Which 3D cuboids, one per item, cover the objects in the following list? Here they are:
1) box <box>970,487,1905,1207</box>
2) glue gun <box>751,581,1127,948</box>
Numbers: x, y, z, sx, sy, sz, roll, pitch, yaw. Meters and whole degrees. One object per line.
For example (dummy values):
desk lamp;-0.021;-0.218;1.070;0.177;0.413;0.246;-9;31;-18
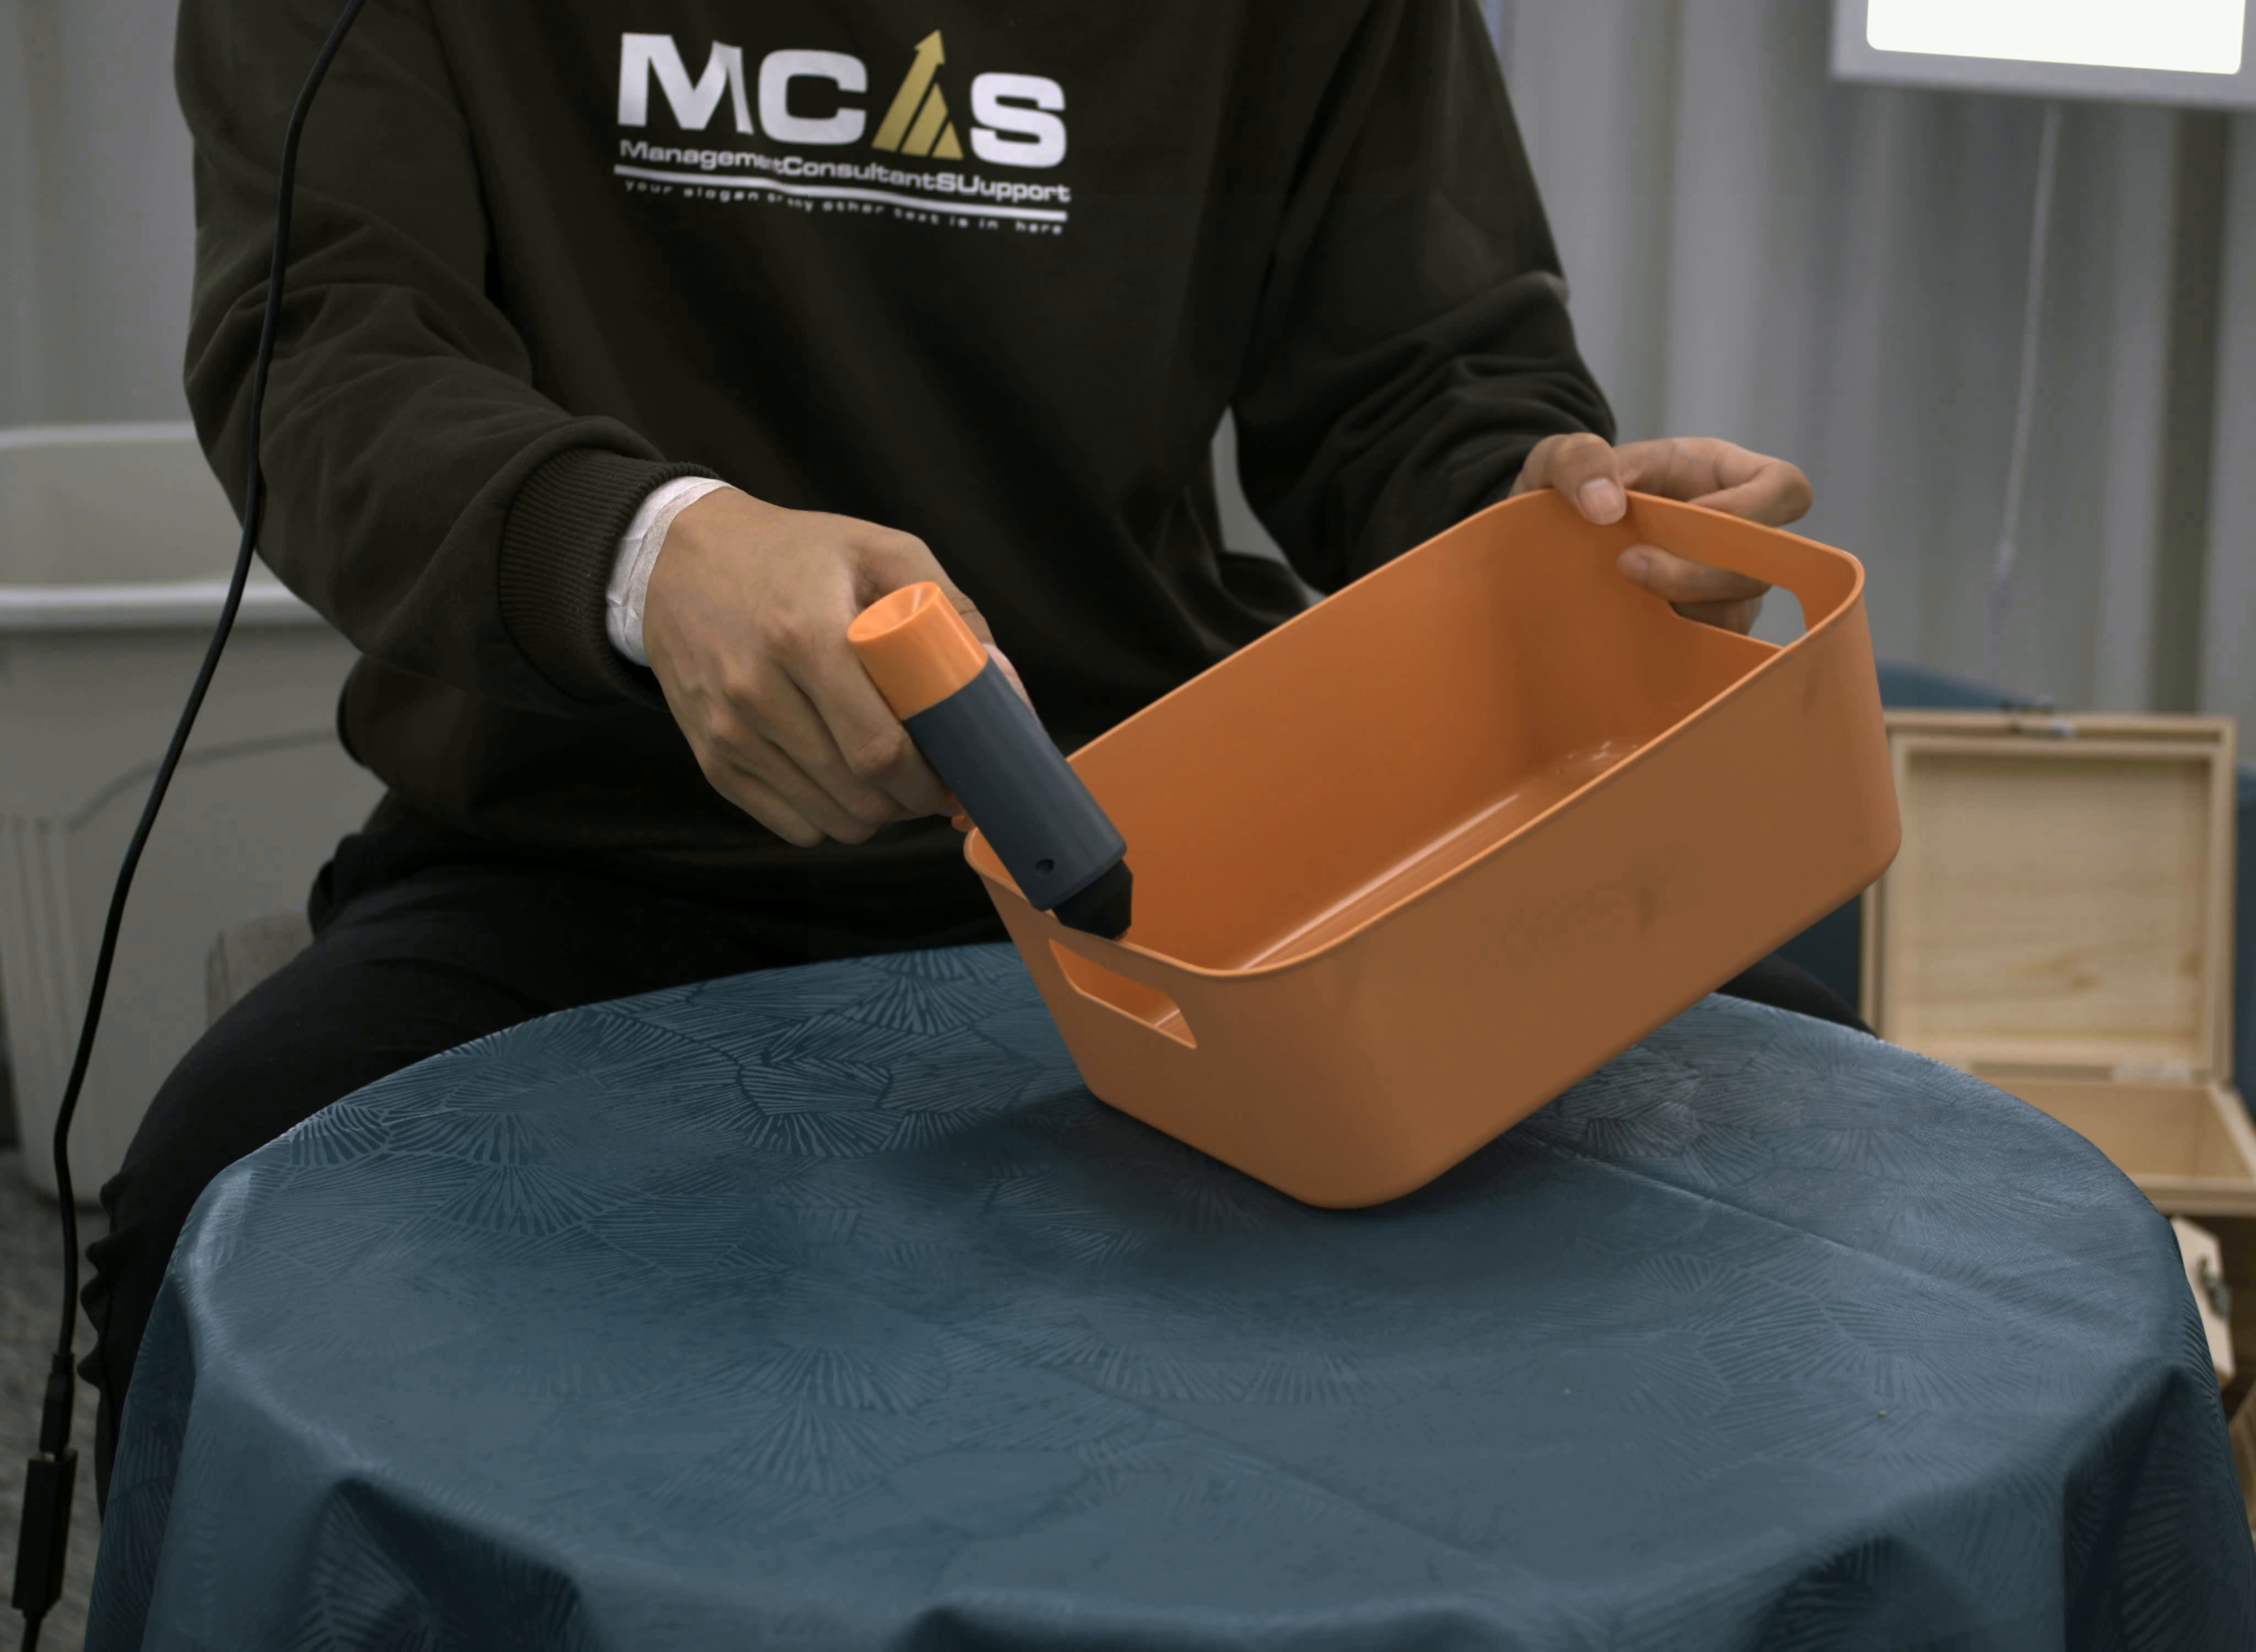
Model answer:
box;0.105;0.006;1.690;0.273;0.104;0.197;-32;28;-24
glue gun;-0.058;-0.020;1.623;0.041;0.119;0.138;-36;23;-20
